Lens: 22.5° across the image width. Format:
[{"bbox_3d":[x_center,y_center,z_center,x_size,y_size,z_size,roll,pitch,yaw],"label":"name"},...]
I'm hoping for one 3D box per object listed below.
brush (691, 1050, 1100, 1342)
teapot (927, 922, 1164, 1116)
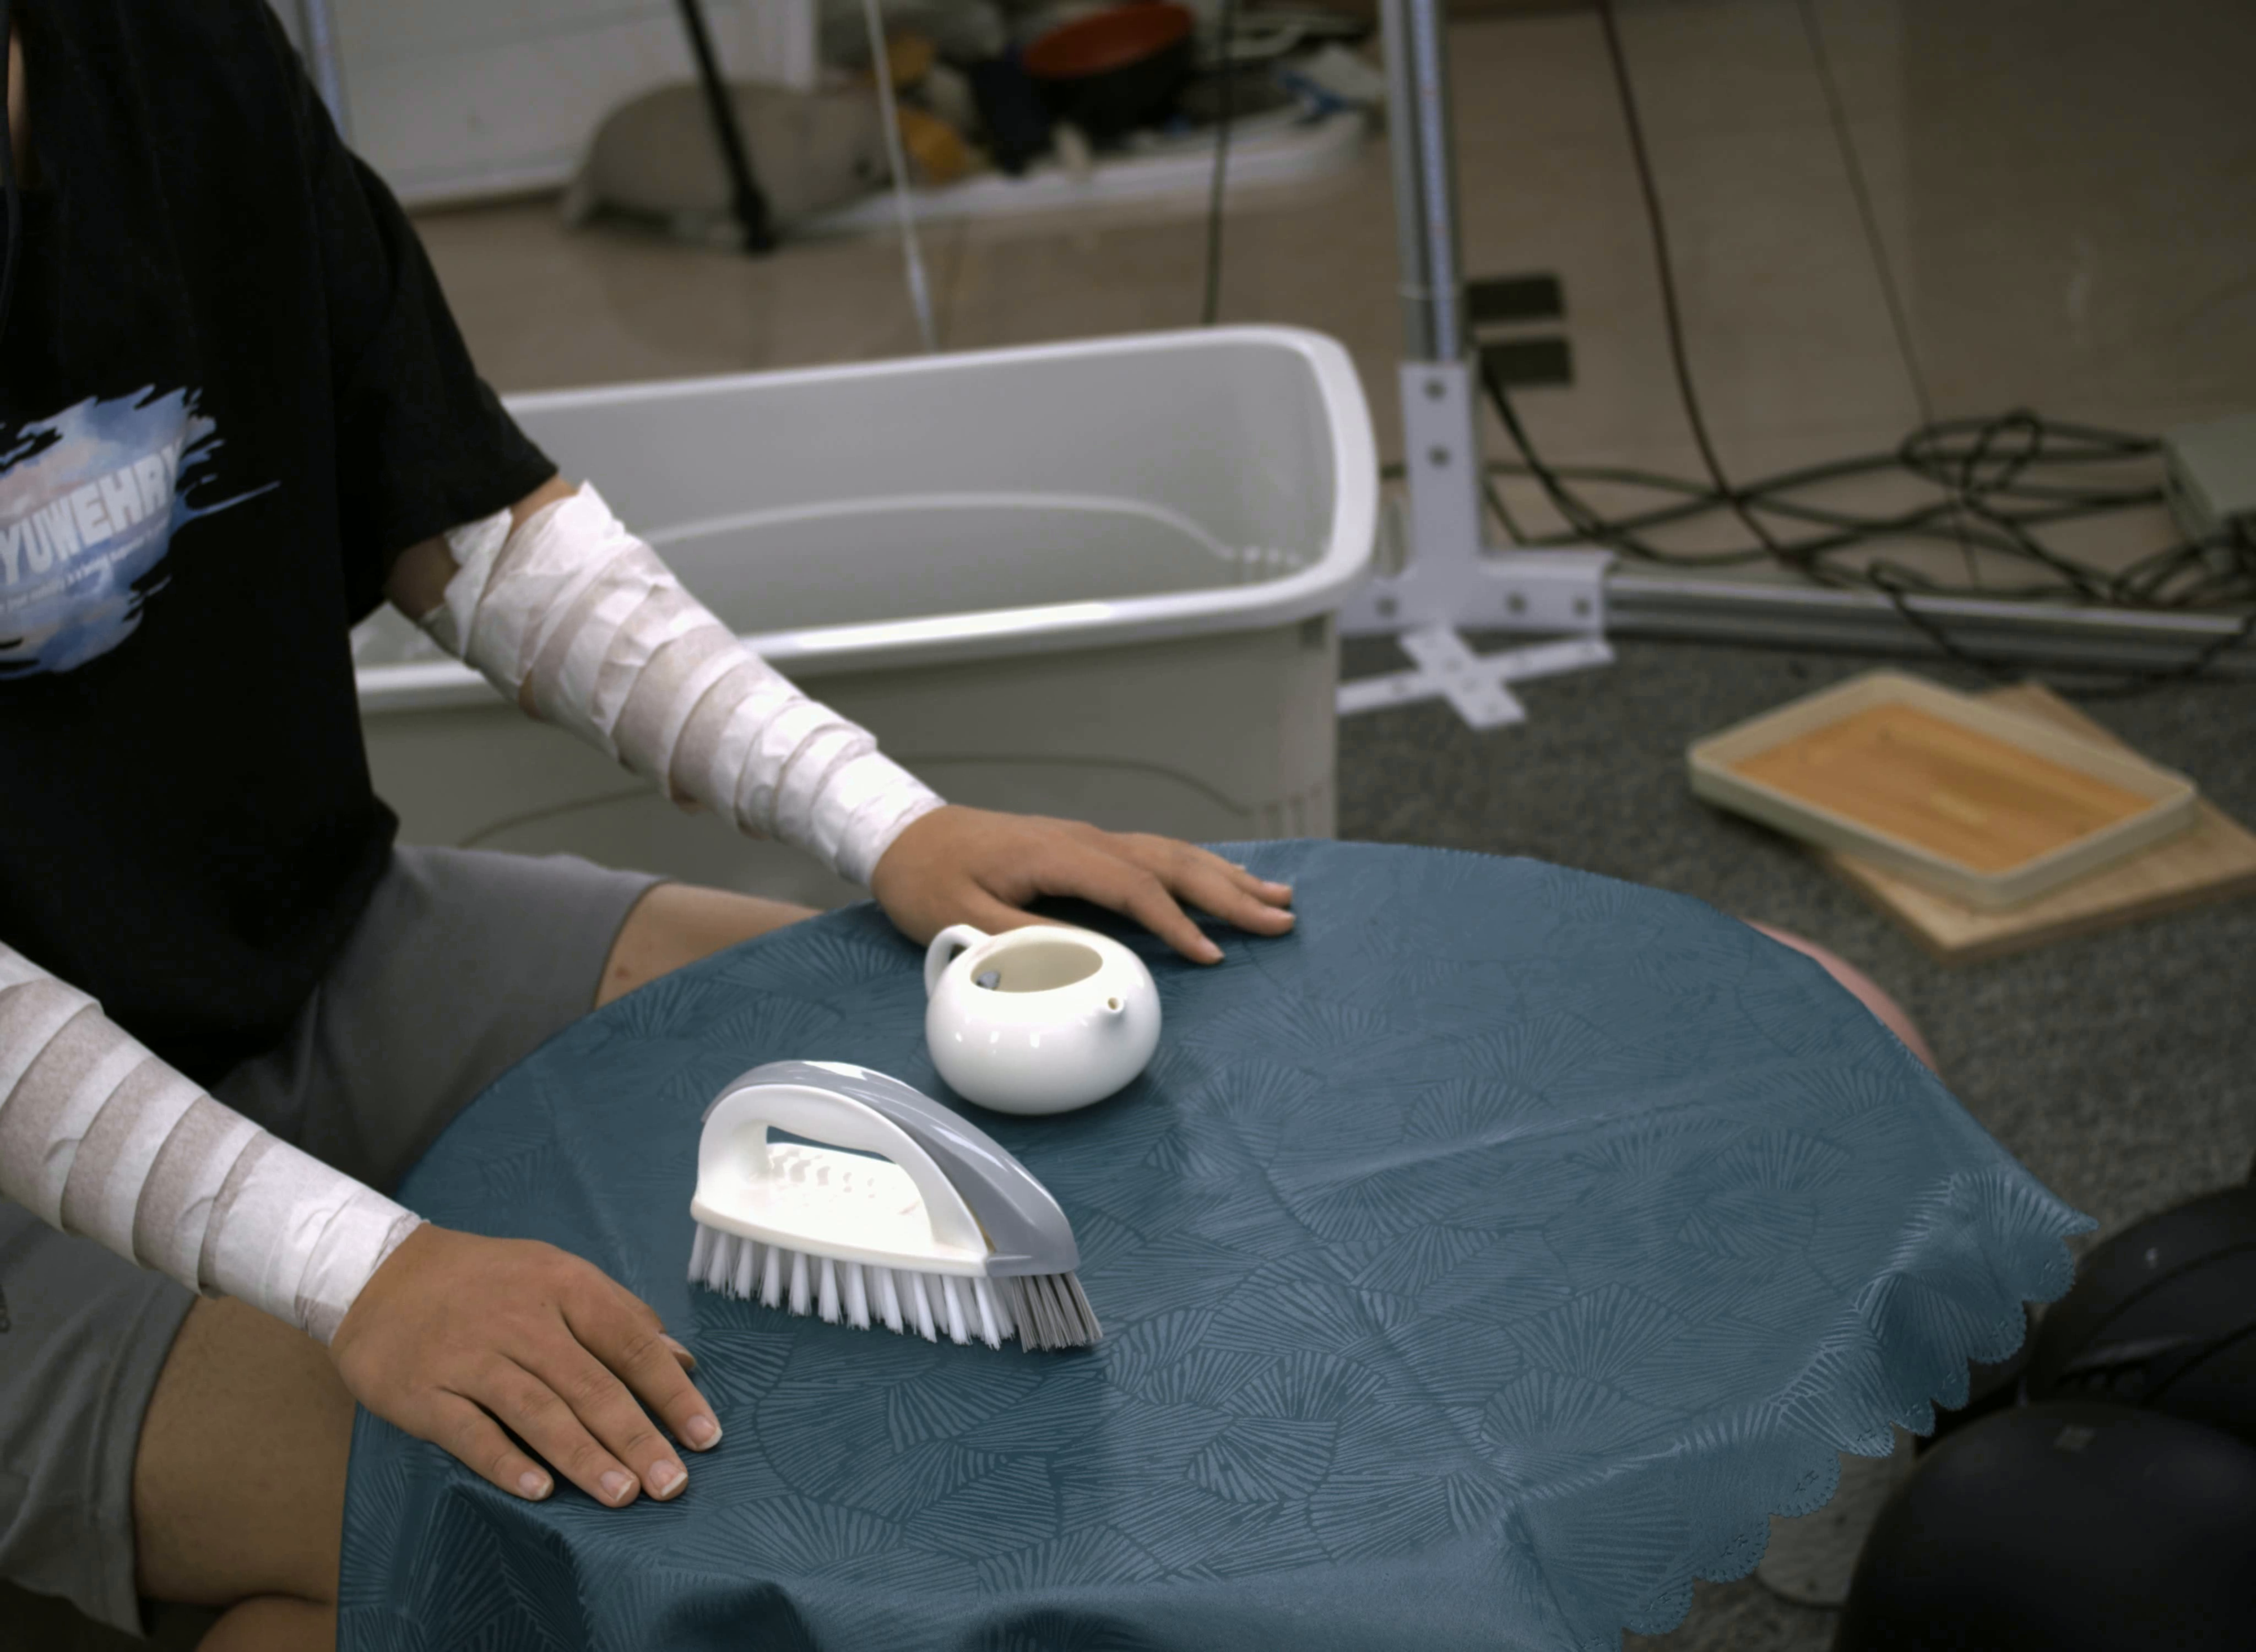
[{"bbox_3d":[-0.086,0.132,2.075,0.174,0.096,0.061,14,35,34],"label":"brush"},{"bbox_3d":[-0.039,0.074,2.234,0.093,0.057,0.126,-28,31,-31],"label":"teapot"}]
